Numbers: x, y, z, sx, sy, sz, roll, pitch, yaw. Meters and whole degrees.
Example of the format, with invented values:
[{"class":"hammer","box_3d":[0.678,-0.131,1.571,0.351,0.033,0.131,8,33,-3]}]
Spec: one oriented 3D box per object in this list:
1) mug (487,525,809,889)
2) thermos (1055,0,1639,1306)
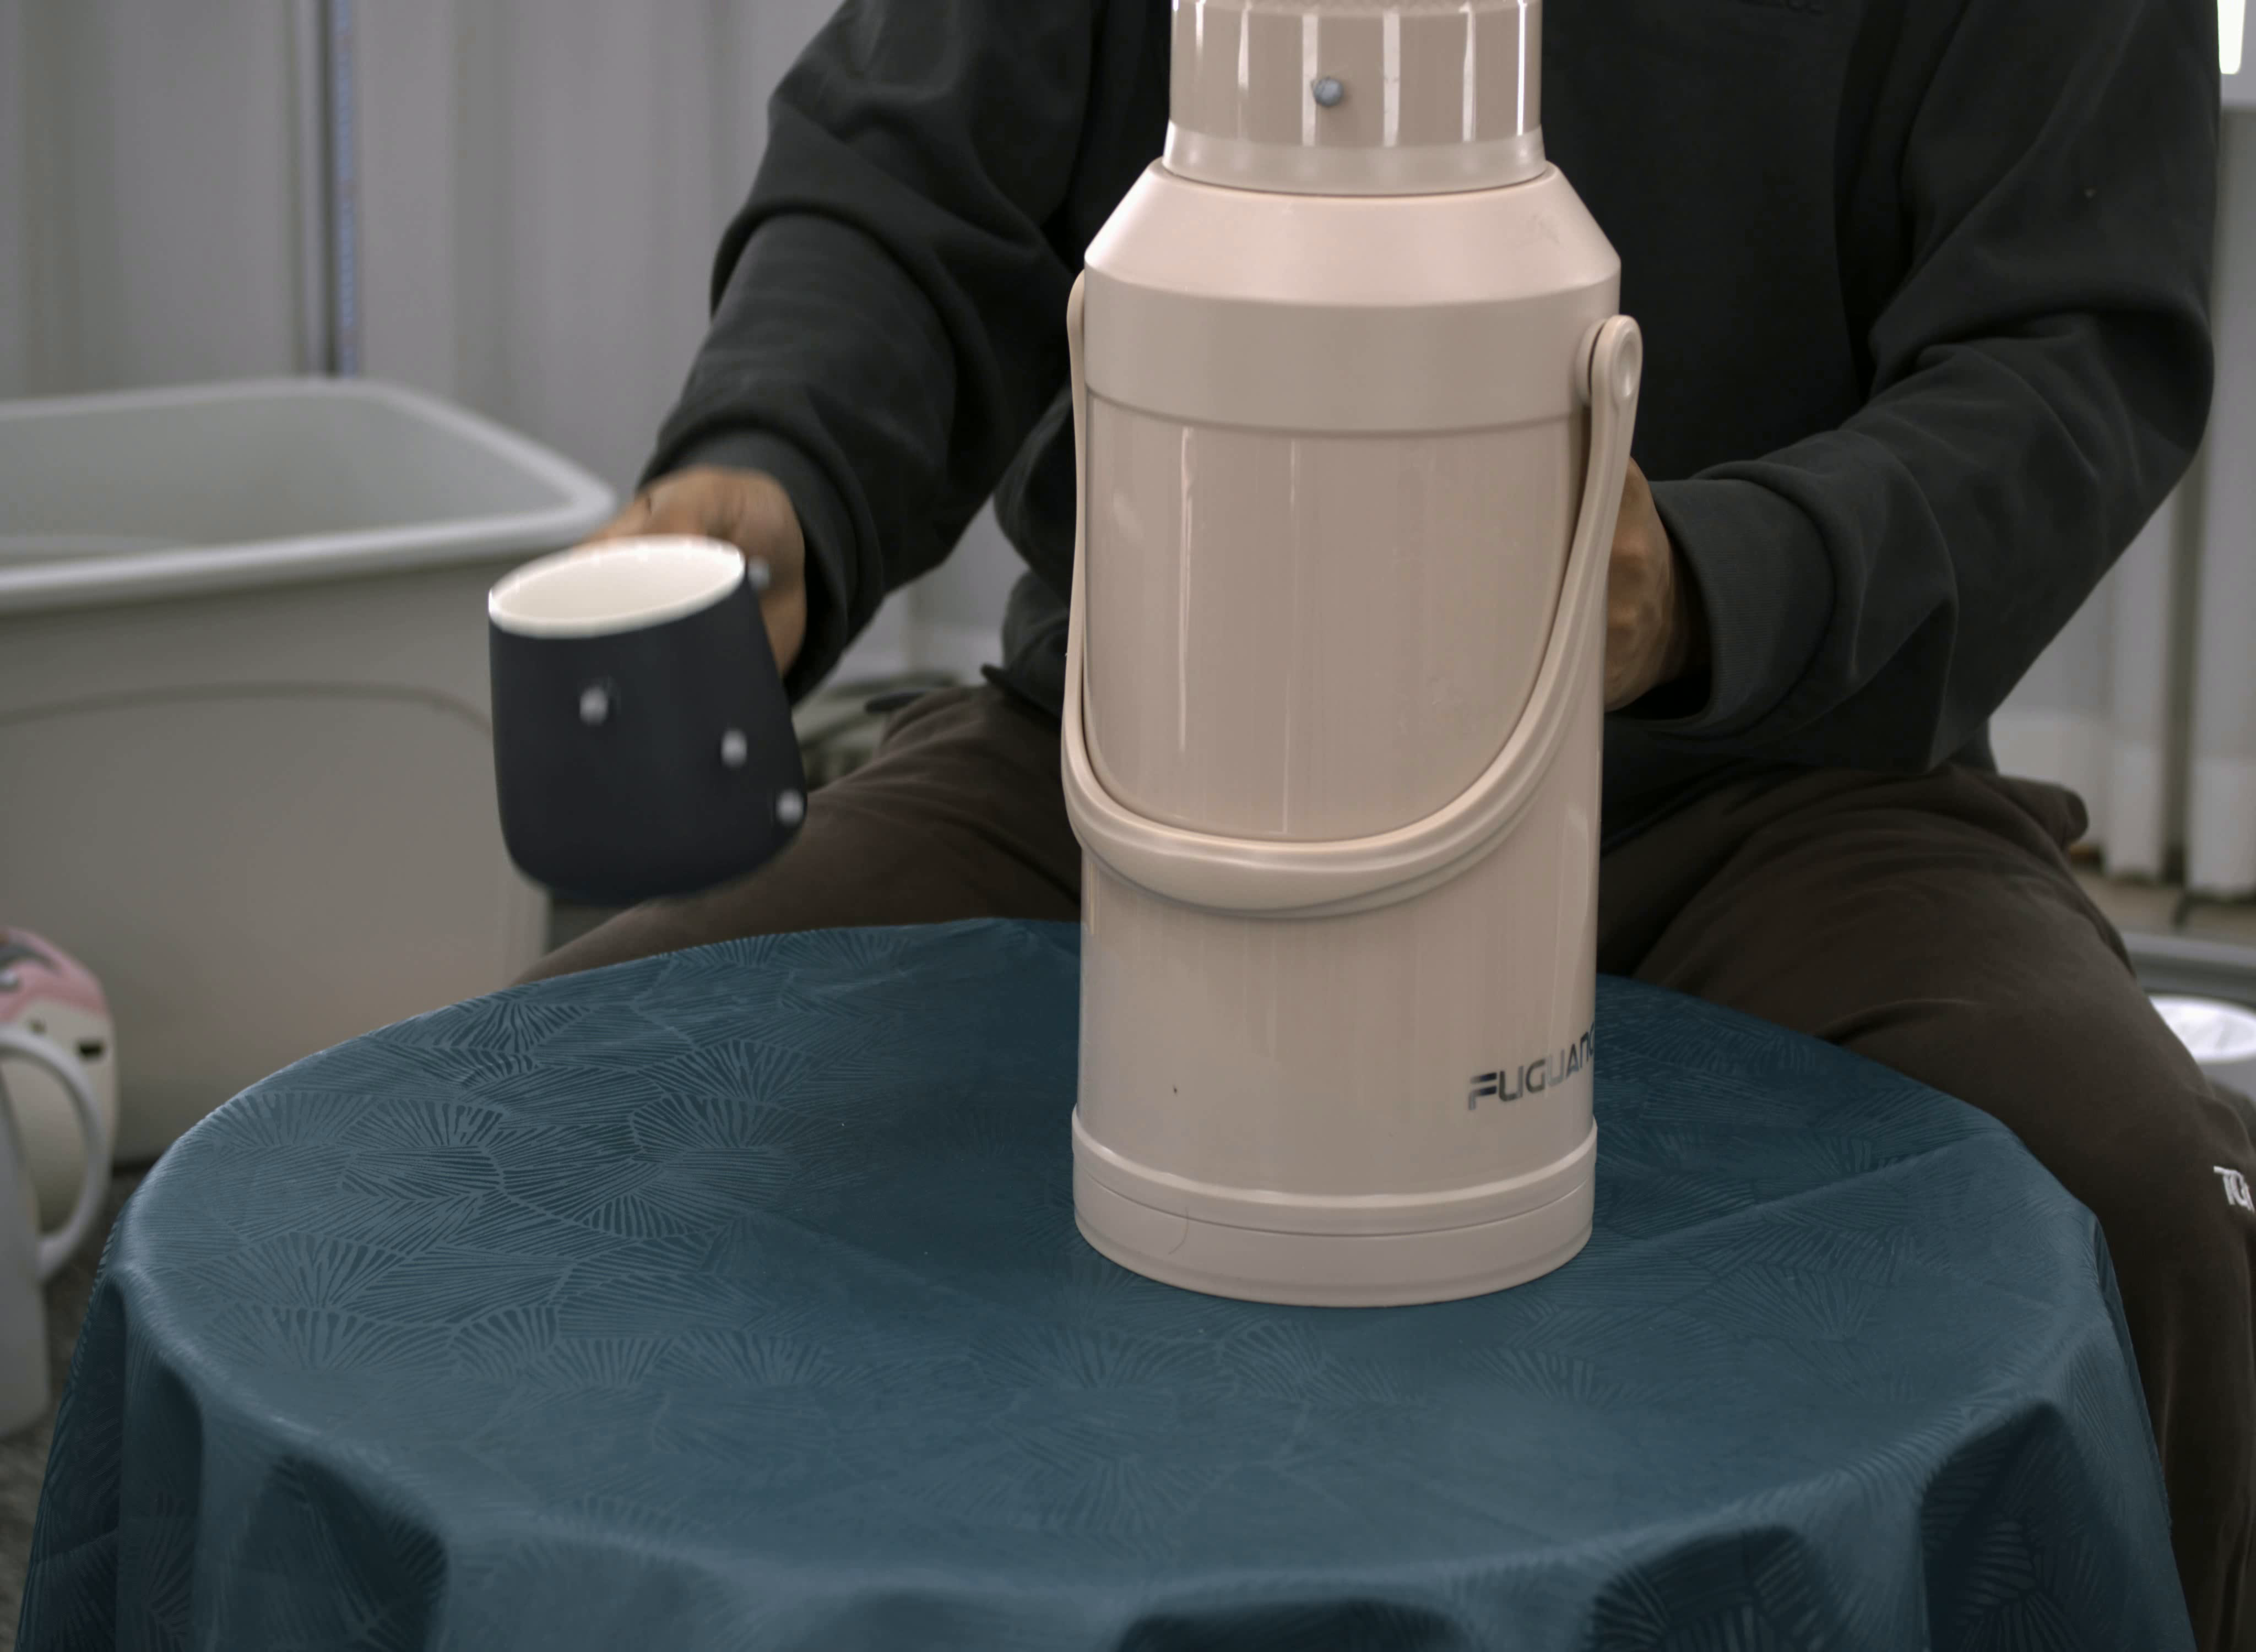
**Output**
[{"class":"mug","box_3d":[-0.144,-0.041,1.597,0.093,0.091,0.122,-4,21,9]},{"class":"thermos","box_3d":[0.070,-0.076,1.562,0.173,0.410,0.207,8,18,26]}]
